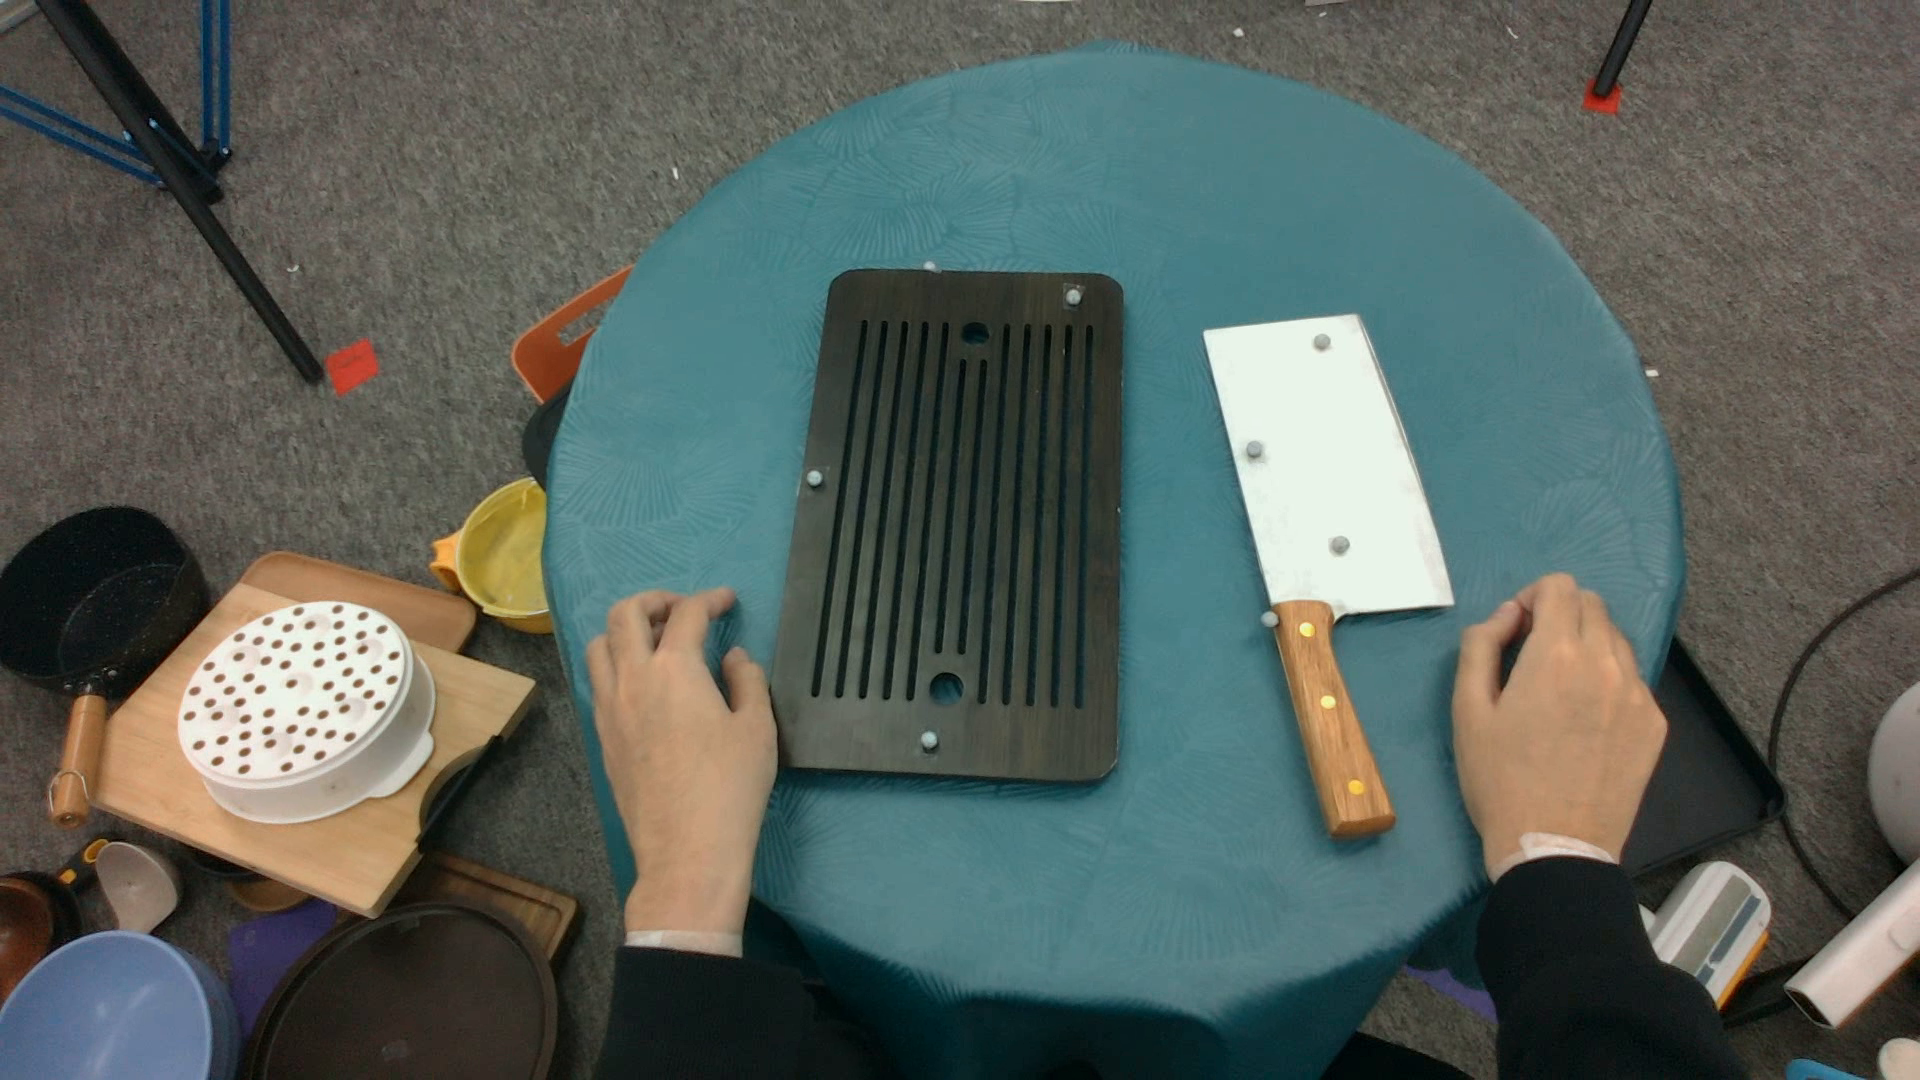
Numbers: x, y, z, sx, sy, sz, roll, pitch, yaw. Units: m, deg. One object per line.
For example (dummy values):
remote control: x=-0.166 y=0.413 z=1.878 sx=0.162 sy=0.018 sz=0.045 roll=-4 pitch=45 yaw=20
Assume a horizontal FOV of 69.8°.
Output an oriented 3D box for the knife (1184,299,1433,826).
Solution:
knife: x=0.186 y=-0.005 z=0.699 sx=0.093 sy=0.021 sz=0.307 roll=-6 pitch=58 yaw=-2

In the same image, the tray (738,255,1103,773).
tray: x=-0.012 y=-0.026 z=0.719 sx=0.170 sy=0.018 sz=0.307 roll=2 pitch=60 yaw=4
